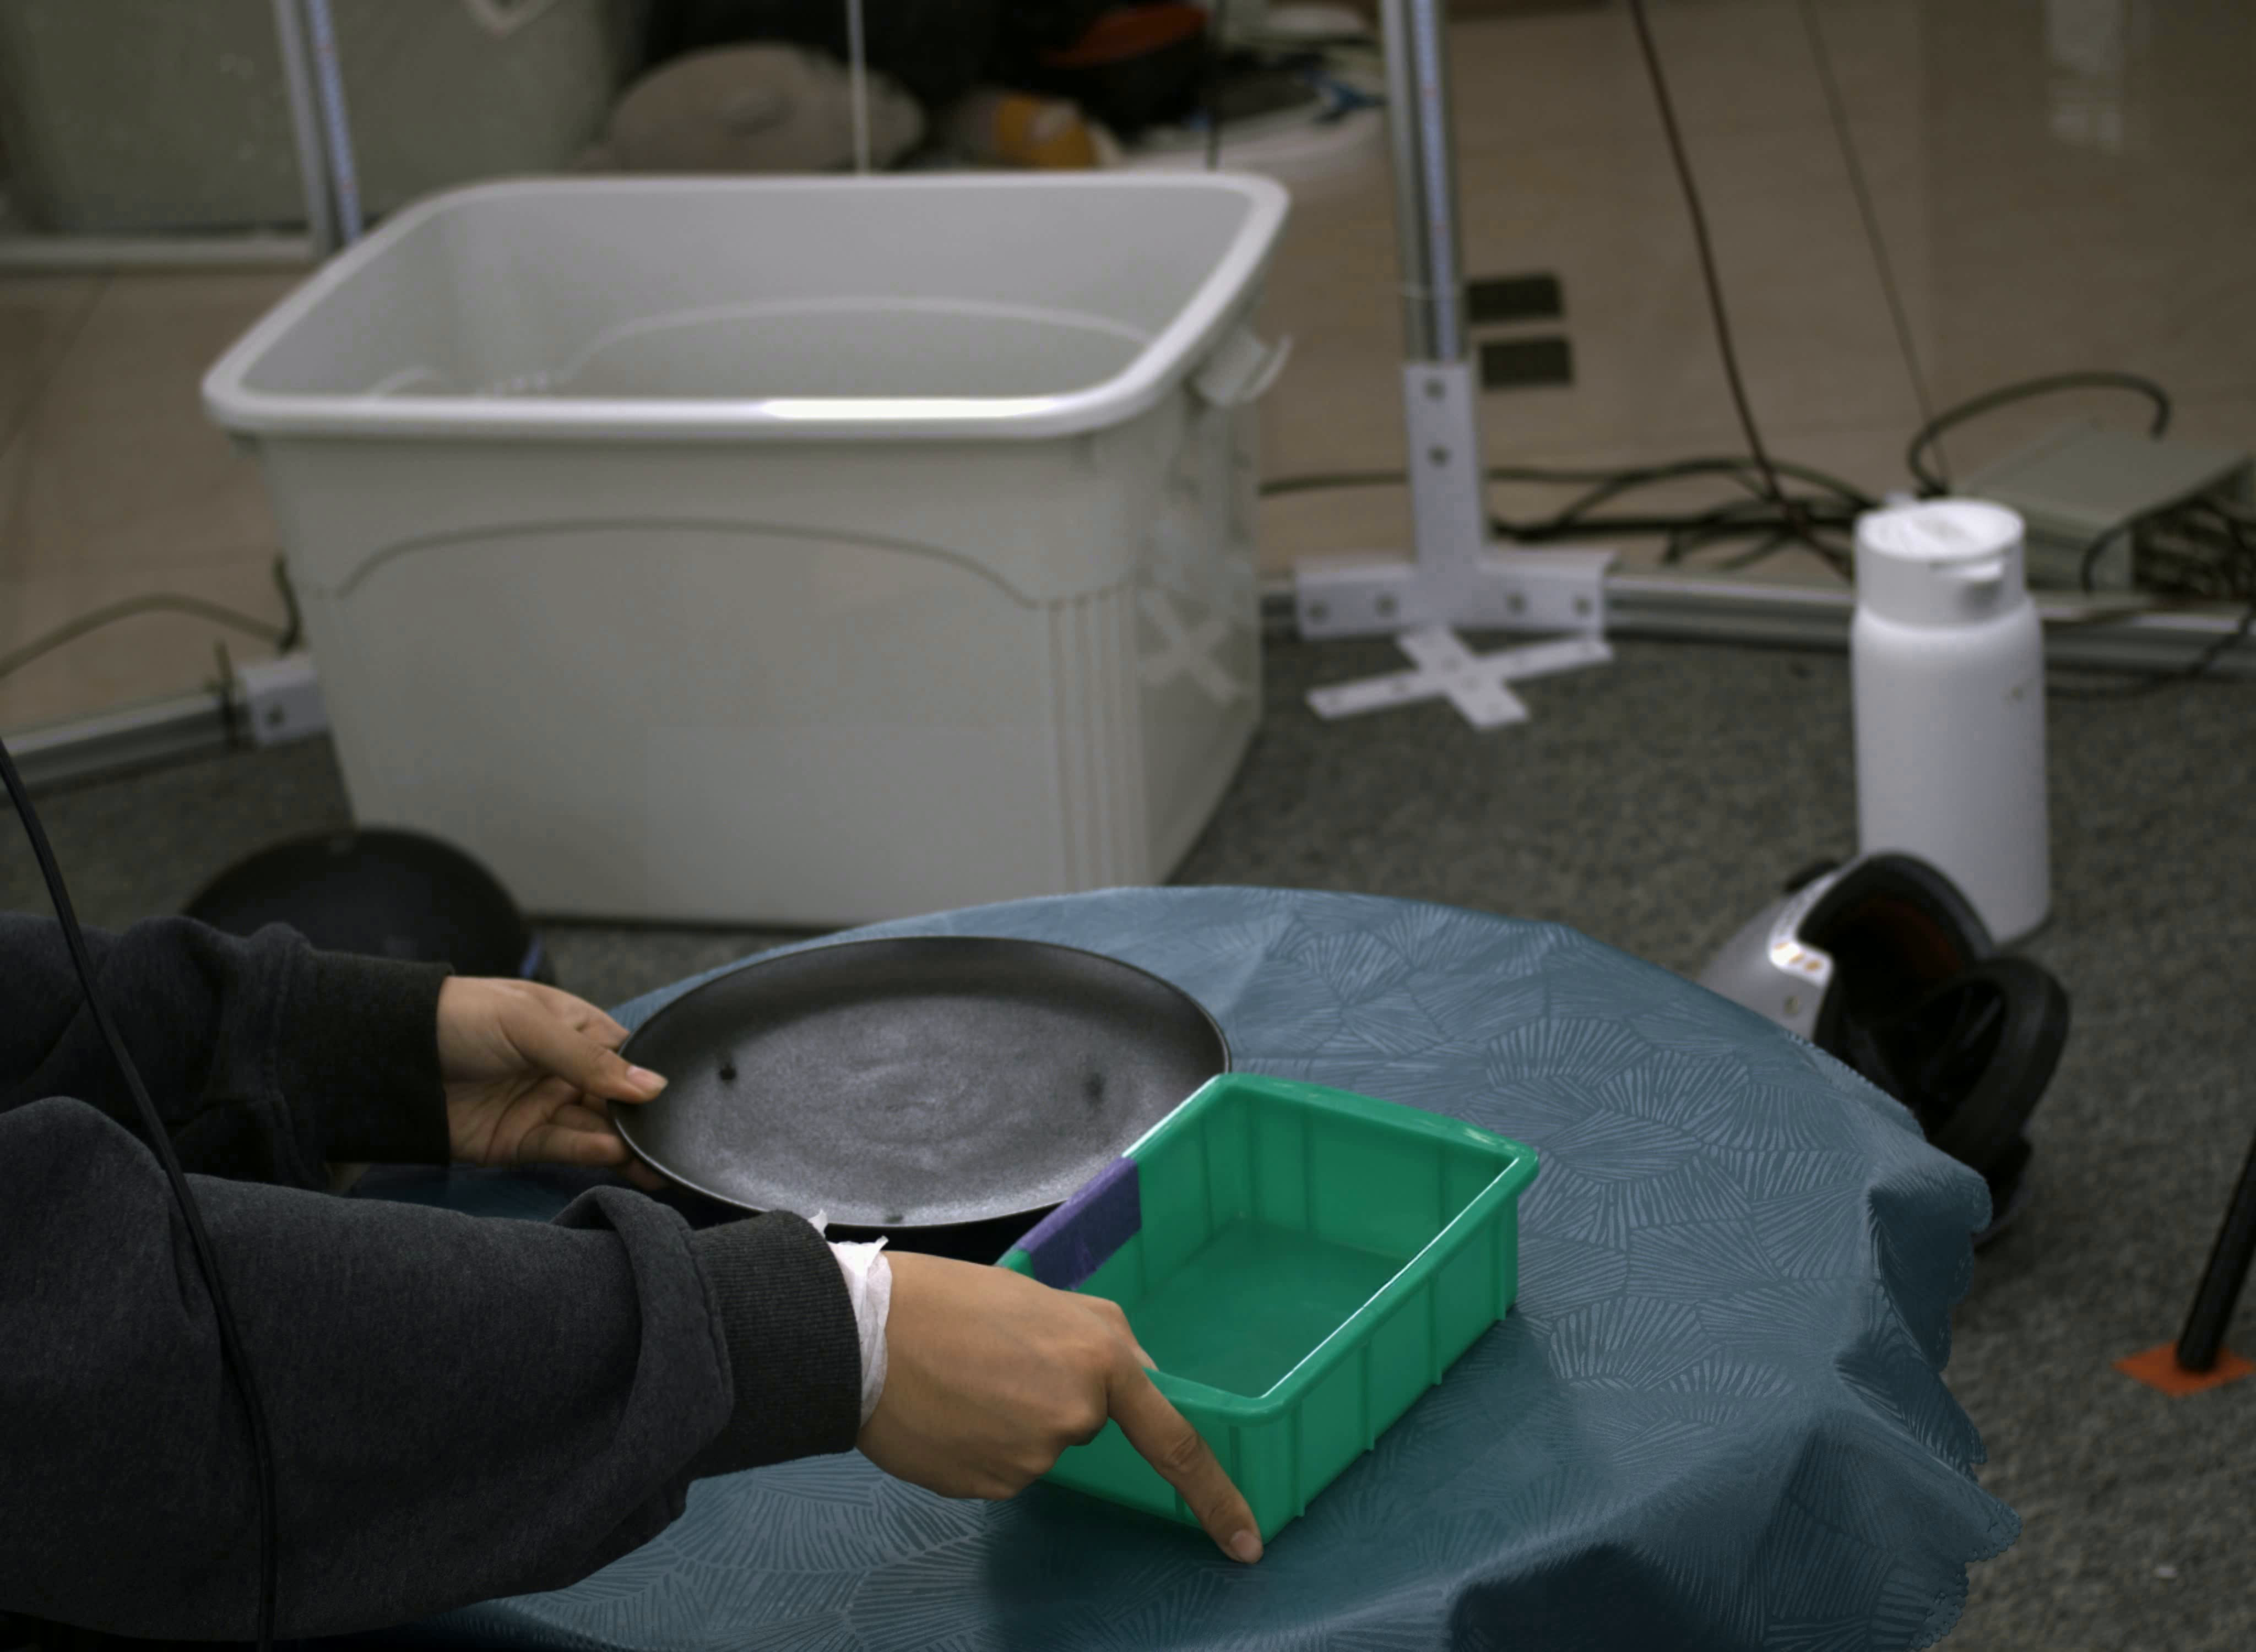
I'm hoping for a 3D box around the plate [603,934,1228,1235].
[{"bbox_3d":[-0.082,0.105,2.197,0.244,0.024,0.241,-1,26,1],"label":"plate"}]

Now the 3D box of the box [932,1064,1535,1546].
[{"bbox_3d":[0.041,0.167,1.988,0.138,0.066,0.208,12,33,30],"label":"box"}]
